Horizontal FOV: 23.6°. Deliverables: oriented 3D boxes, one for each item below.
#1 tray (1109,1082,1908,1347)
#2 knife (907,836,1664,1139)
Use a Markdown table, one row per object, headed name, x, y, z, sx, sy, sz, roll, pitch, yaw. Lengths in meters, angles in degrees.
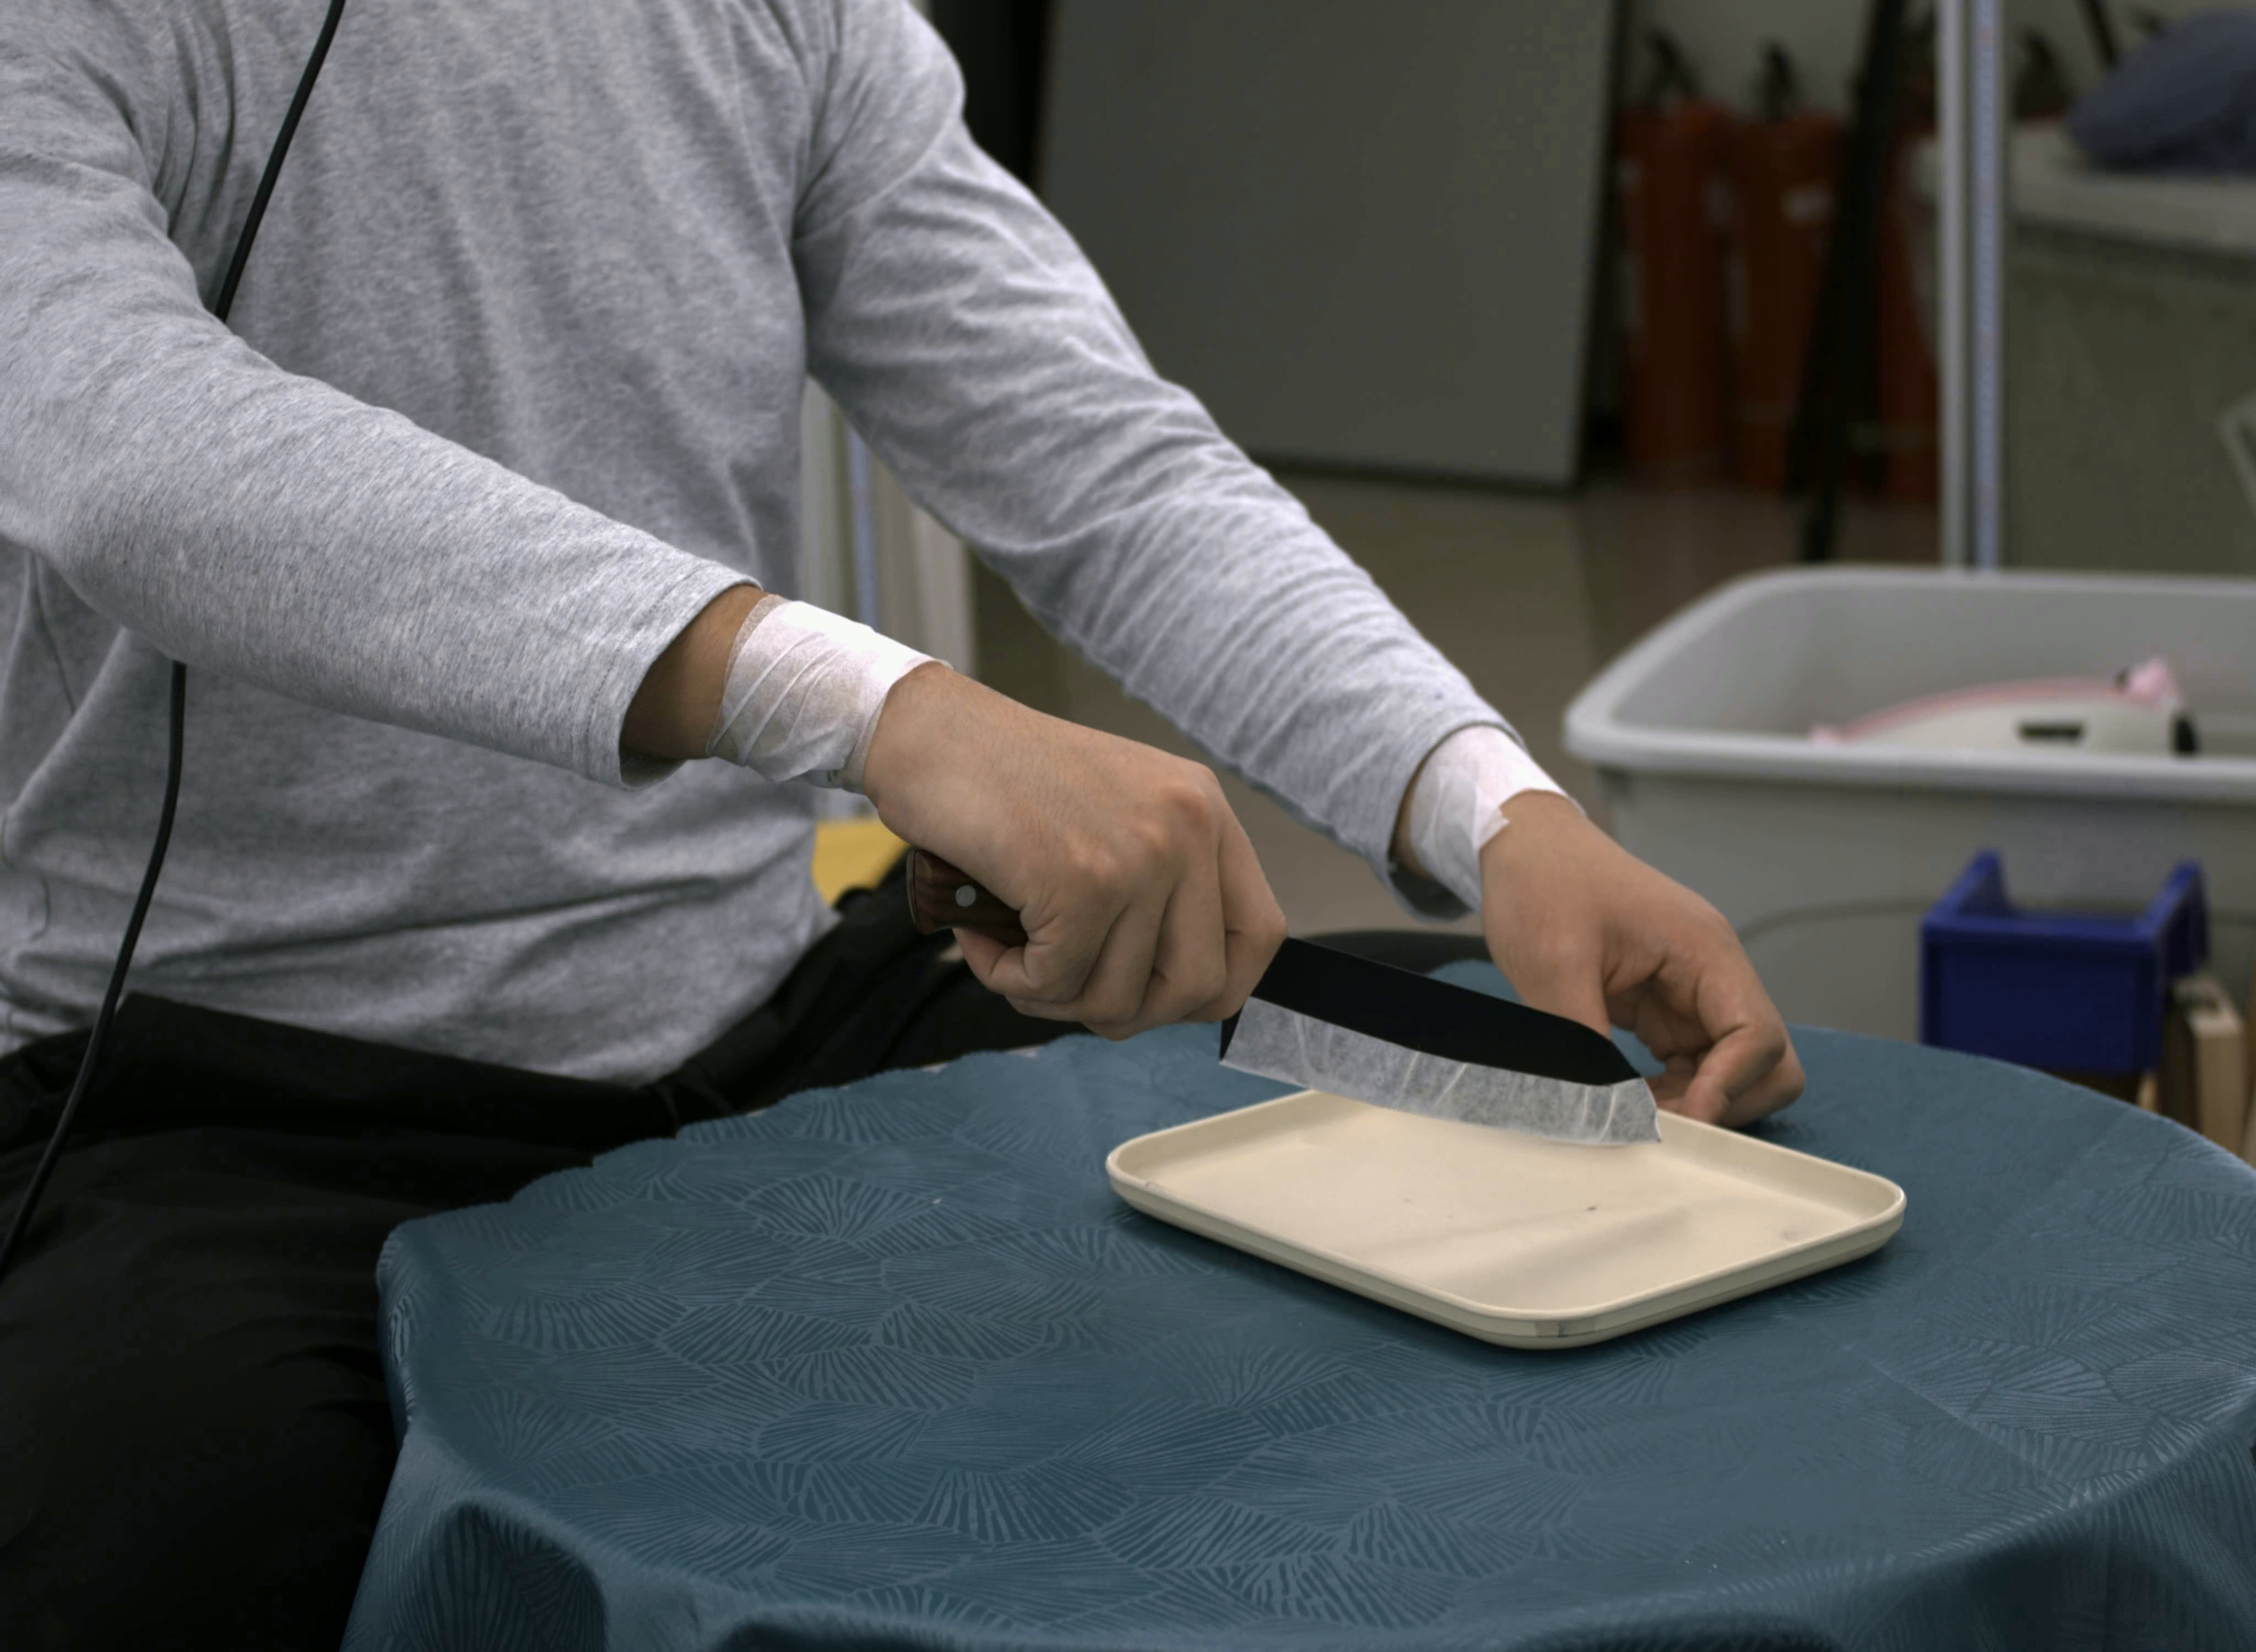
| name | x | y | z | sx | sy | sz | roll | pitch | yaw |
| --- | --- | --- | --- | --- | --- | --- | --- | --- | --- |
| tray | 0.118 | 0.119 | 1.711 | 0.167 | 0.017 | 0.242 | -12 | 16 | -33 |
| knife | 0.054 | 0.052 | 1.645 | 0.283 | 0.051 | 0.020 | 20 | 5 | -28 |
